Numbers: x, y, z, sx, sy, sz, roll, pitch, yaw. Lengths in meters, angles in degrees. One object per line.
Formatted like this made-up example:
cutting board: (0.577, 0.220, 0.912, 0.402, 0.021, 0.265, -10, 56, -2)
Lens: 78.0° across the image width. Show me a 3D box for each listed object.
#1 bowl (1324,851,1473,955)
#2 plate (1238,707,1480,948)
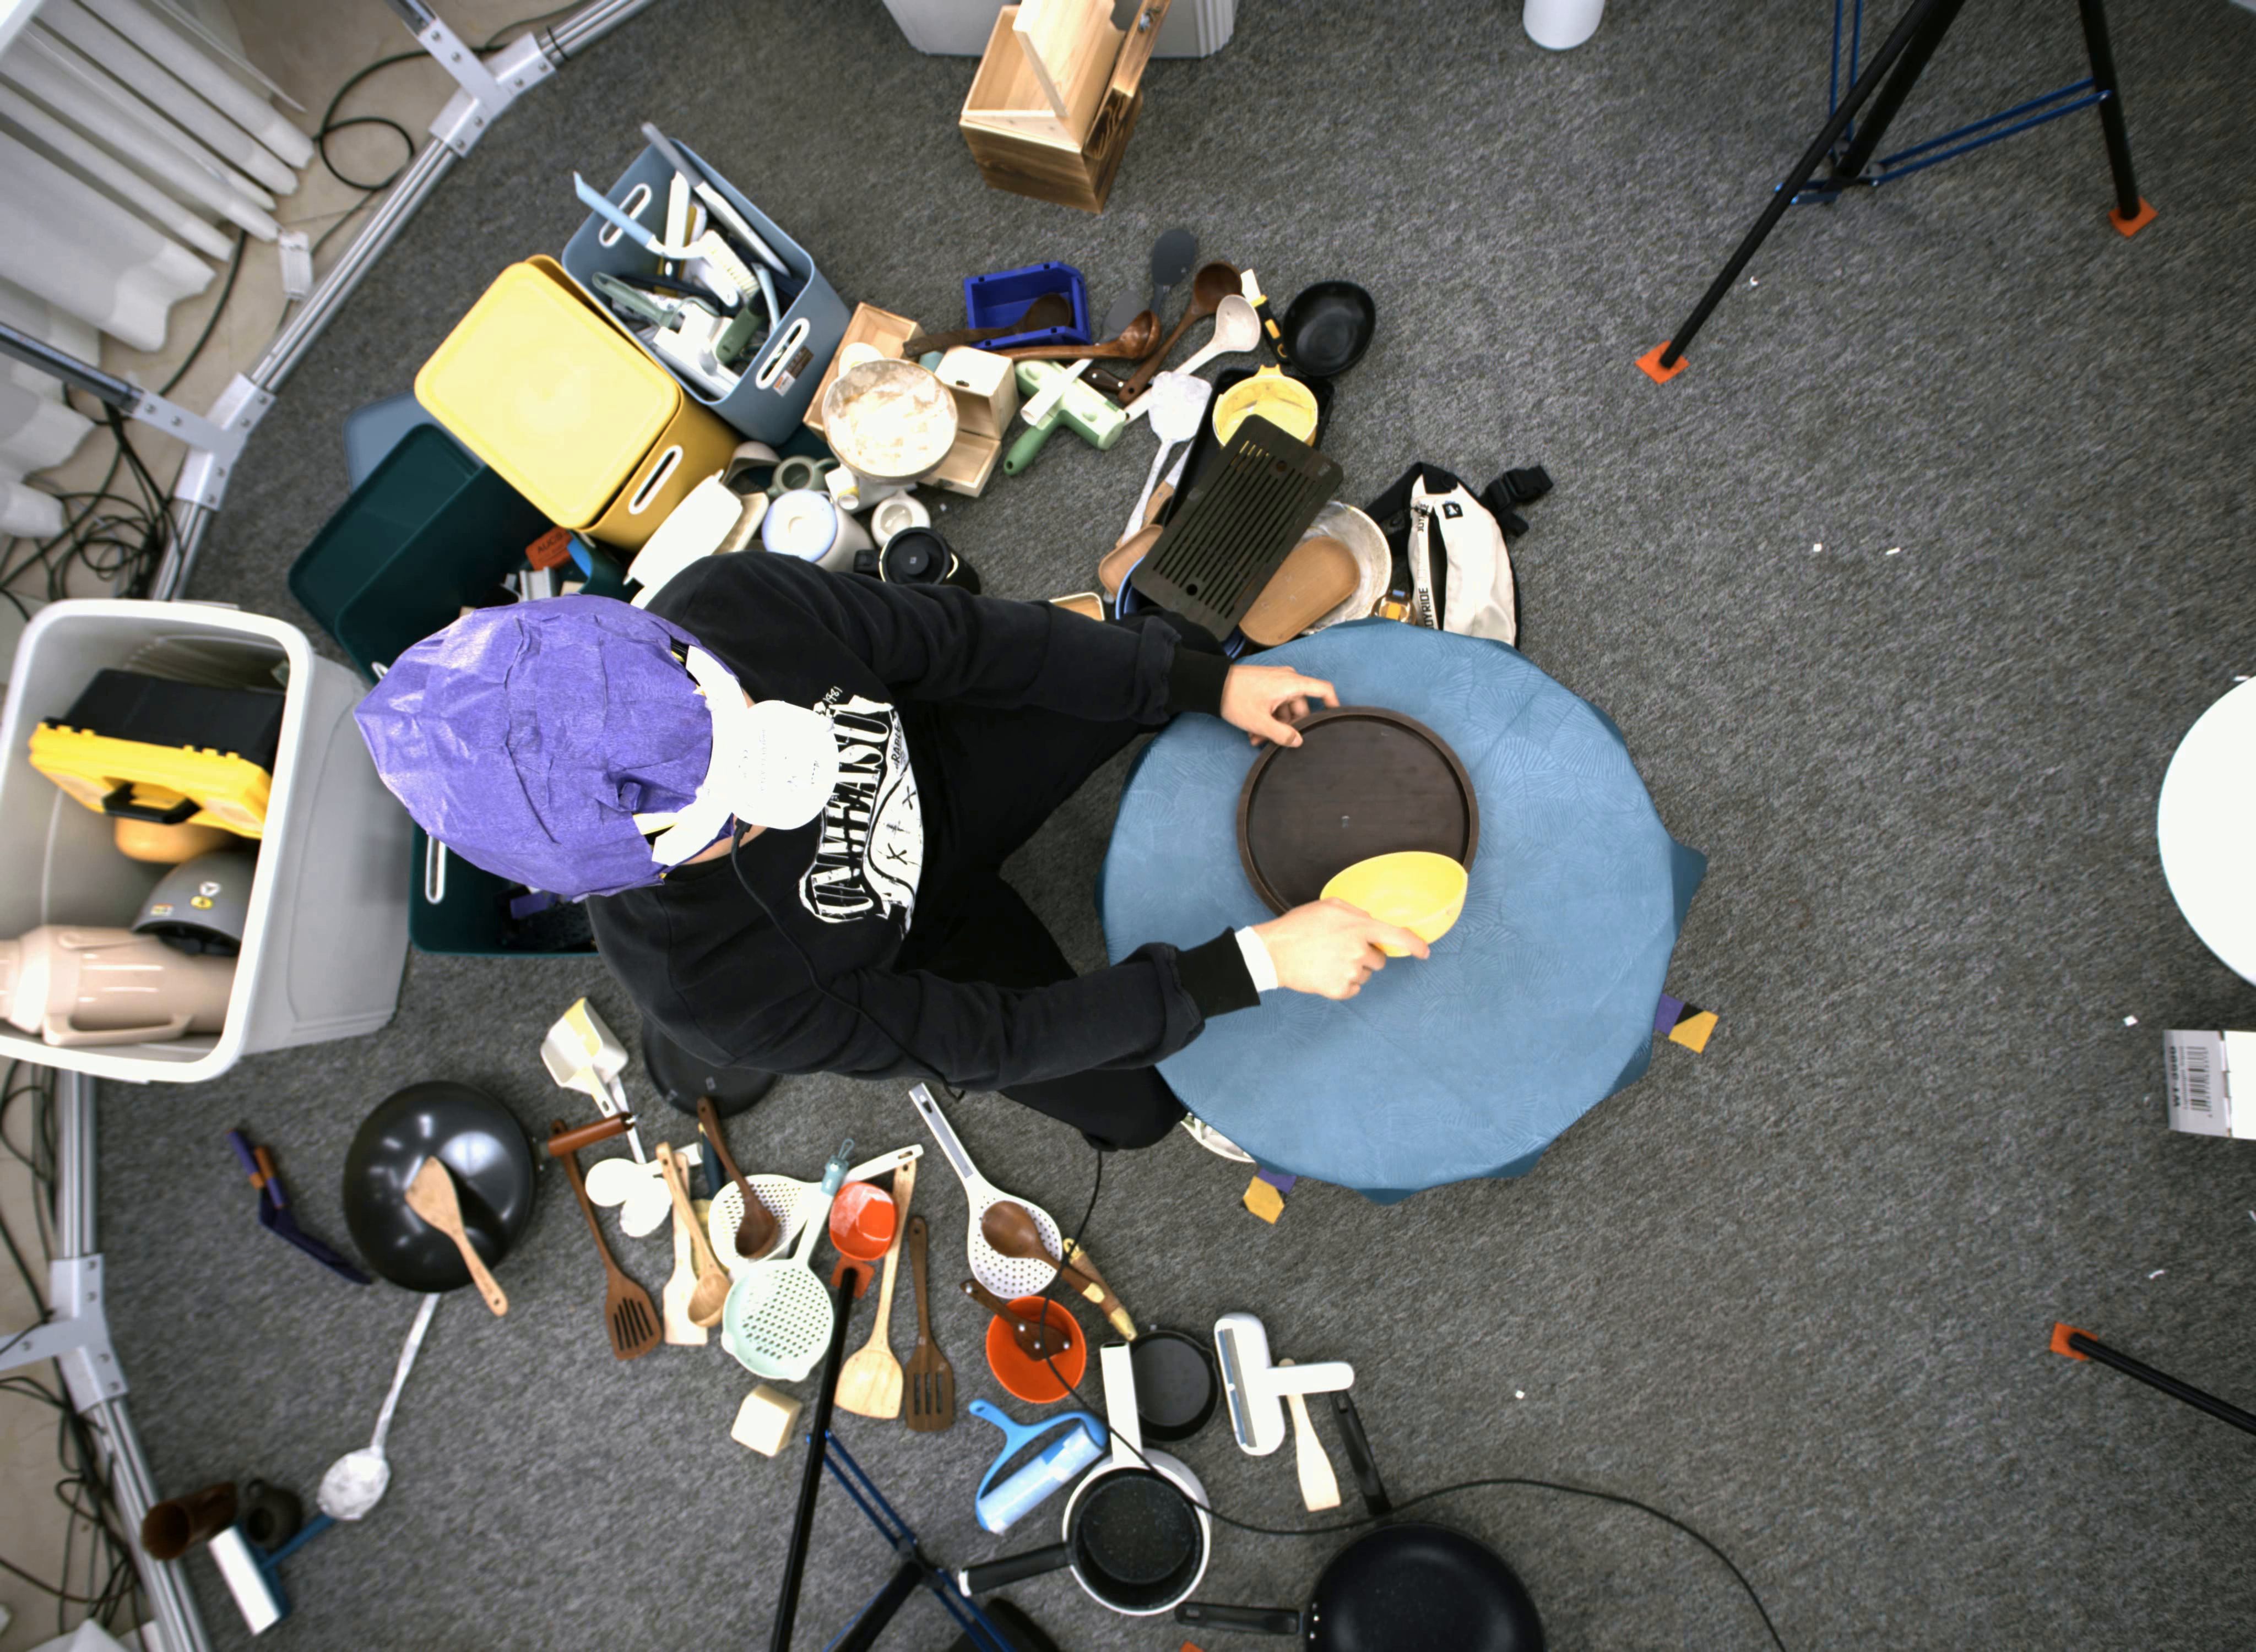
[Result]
bowl: (0.267, 0.083, 1.355, 0.146, 0.142, 0.061, -8, 118, 9)
plate: (0.242, 0.001, 1.453, 0.256, 0.029, 0.255, 0, 94, 10)
